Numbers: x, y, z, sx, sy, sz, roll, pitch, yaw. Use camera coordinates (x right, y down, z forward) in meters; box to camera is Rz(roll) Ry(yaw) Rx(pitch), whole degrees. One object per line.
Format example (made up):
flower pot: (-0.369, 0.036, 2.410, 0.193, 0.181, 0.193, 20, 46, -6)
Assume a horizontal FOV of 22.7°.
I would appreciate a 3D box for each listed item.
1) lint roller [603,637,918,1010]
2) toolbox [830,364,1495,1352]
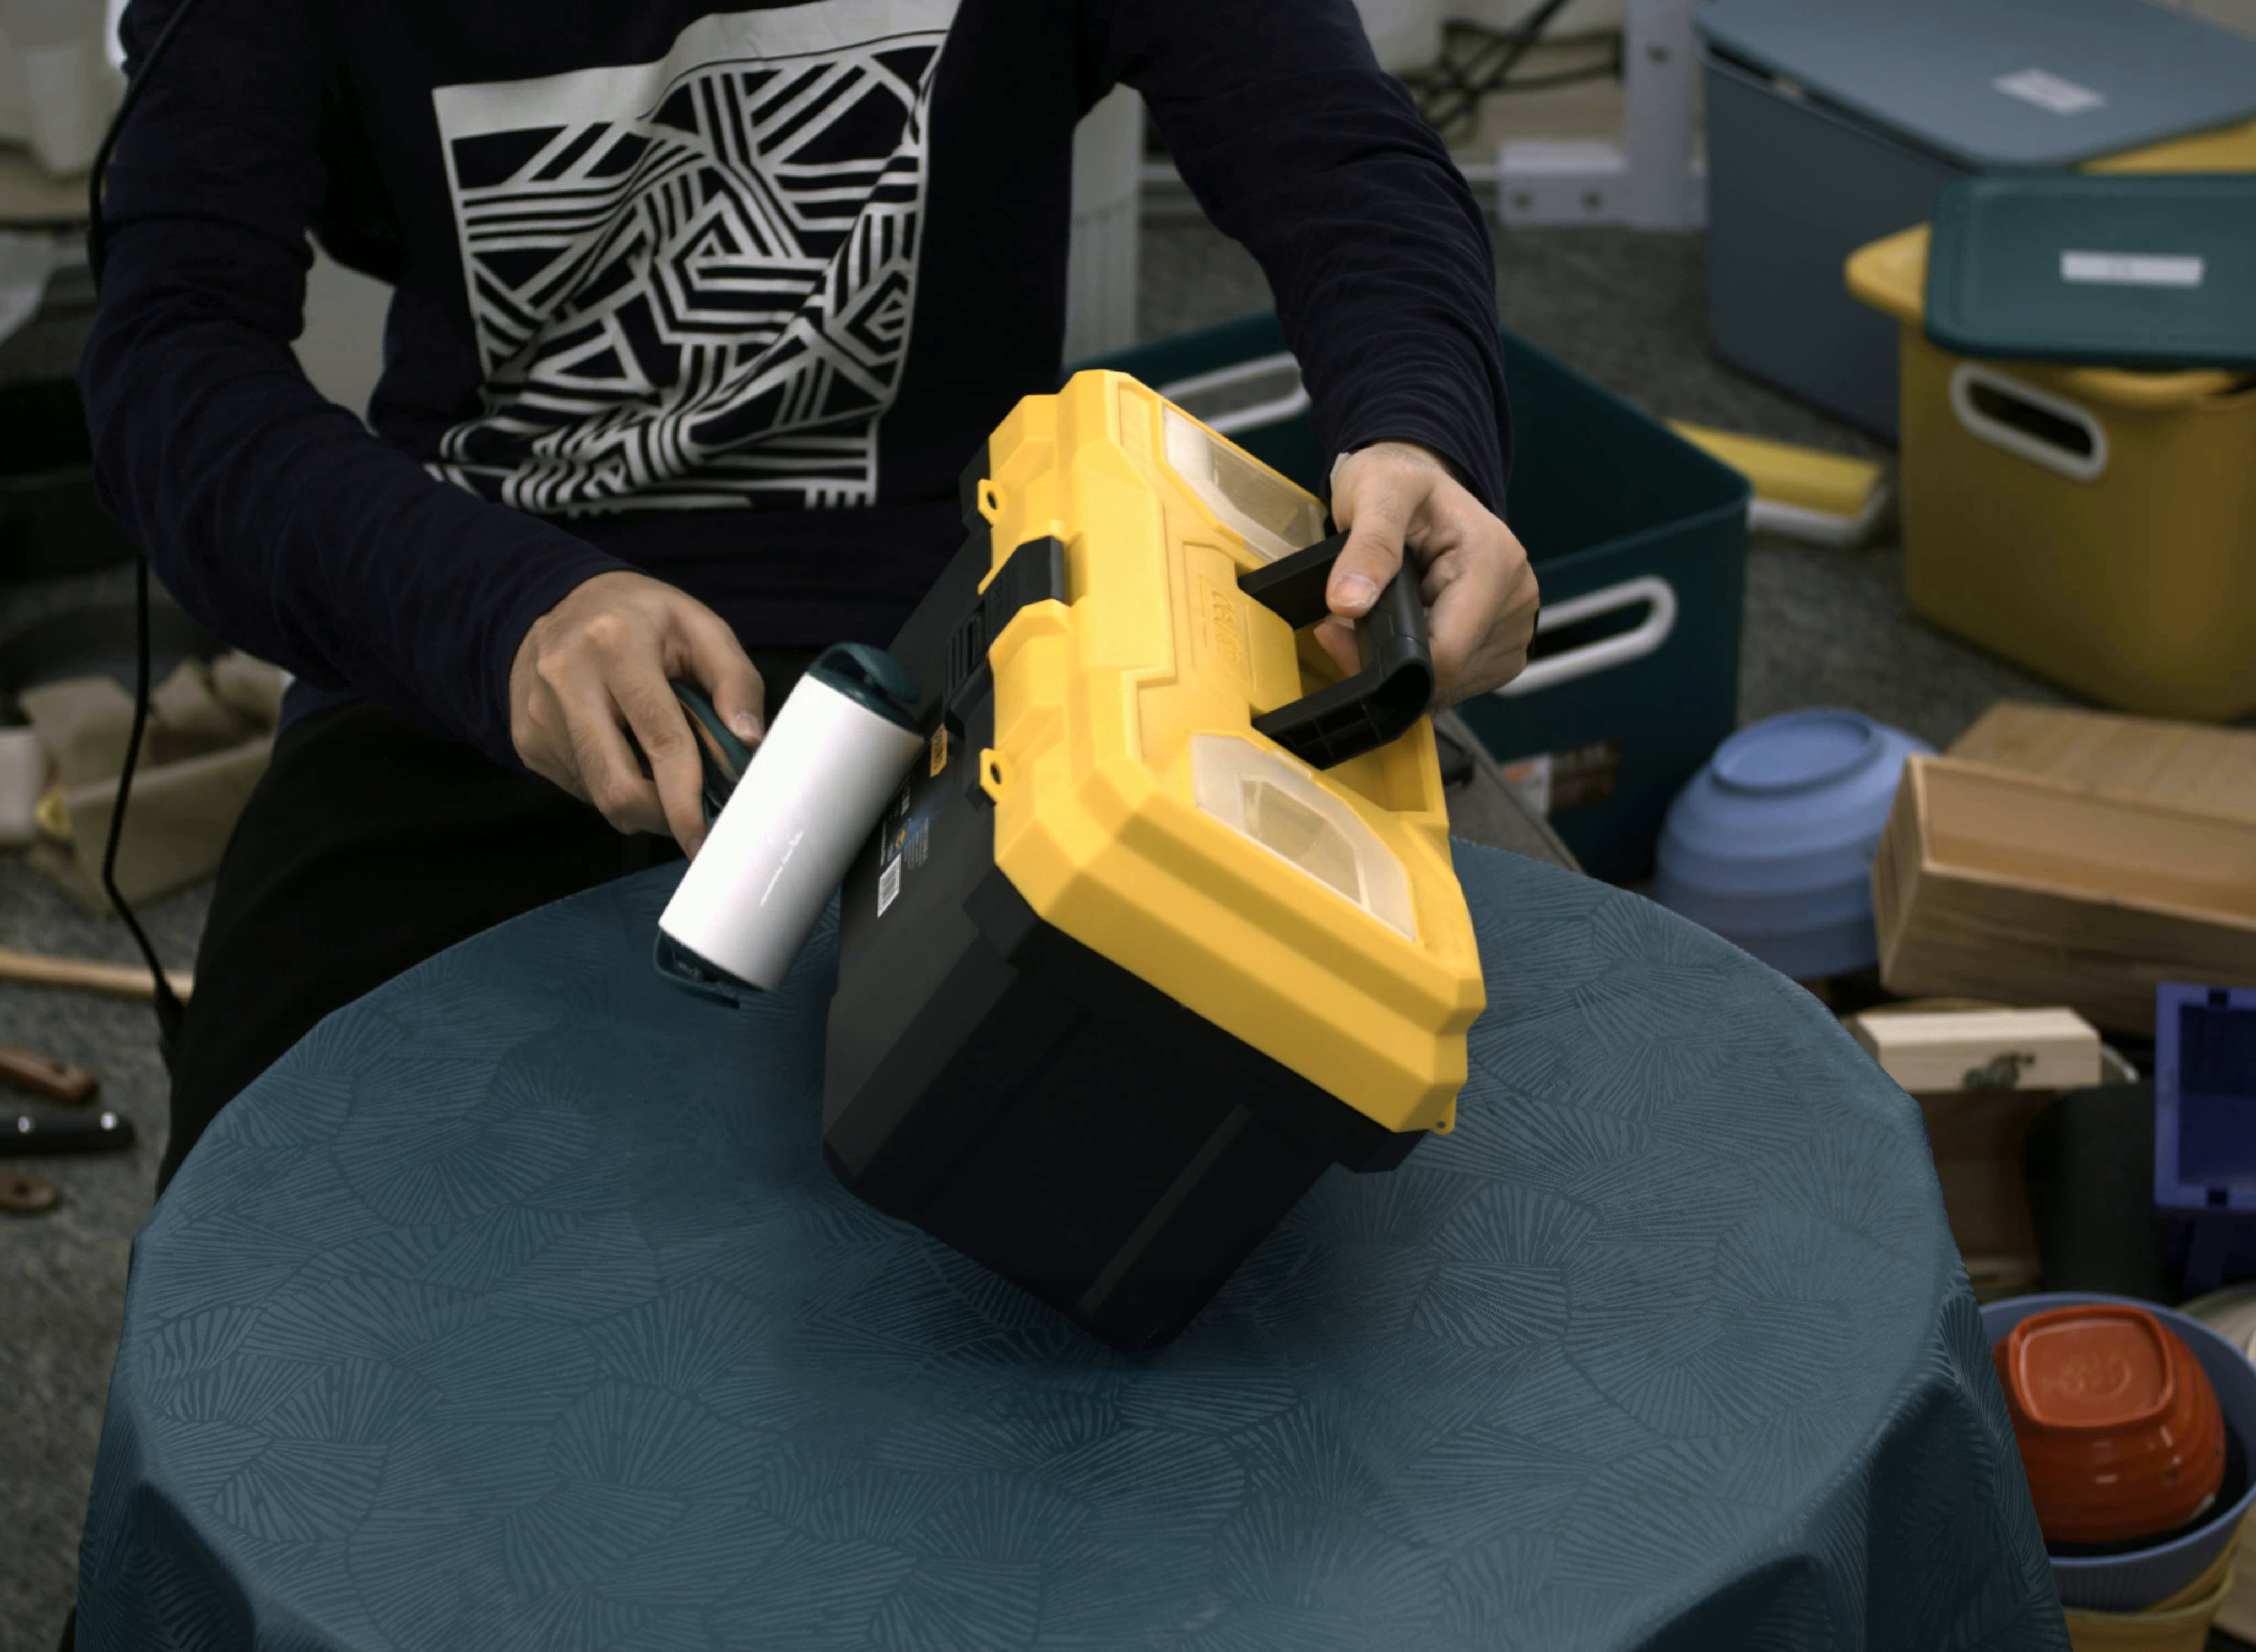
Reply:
lint roller: (-0.150, -0.021, 1.942, 0.048, 0.135, 0.180, 30, 0, -39)
toolbox: (0.000, 0.004, 1.860, 0.180, 0.171, 0.356, 32, 21, -17)
